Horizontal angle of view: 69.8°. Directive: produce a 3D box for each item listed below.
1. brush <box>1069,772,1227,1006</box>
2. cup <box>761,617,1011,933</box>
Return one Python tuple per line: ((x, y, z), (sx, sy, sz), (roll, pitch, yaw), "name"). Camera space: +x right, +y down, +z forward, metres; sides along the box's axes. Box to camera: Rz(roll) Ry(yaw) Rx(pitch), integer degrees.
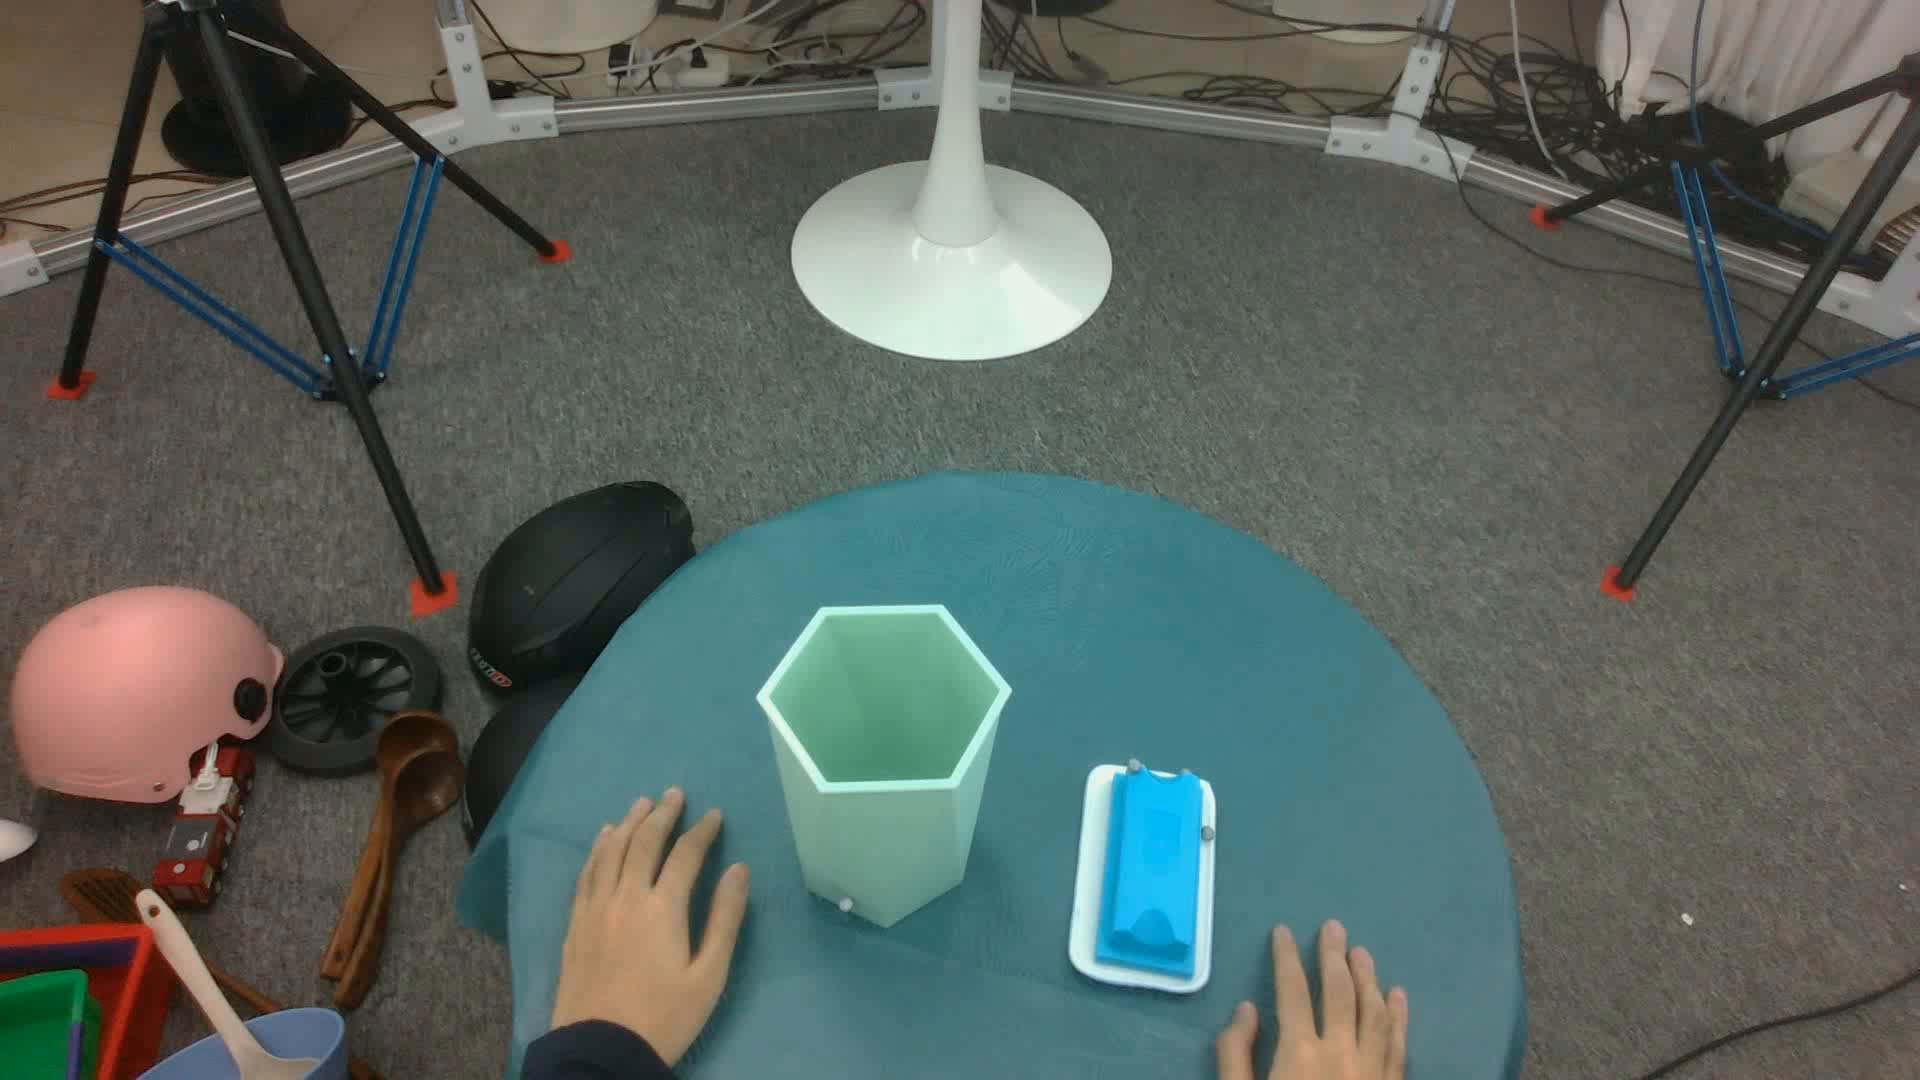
((0.113, 0.194, 0.802), (0.084, 0.055, 0.145), (9, 45, 8), "brush")
((-0.042, 0.137, 0.776), (0.131, 0.162, 0.115), (-2, 50, -6), "cup")
